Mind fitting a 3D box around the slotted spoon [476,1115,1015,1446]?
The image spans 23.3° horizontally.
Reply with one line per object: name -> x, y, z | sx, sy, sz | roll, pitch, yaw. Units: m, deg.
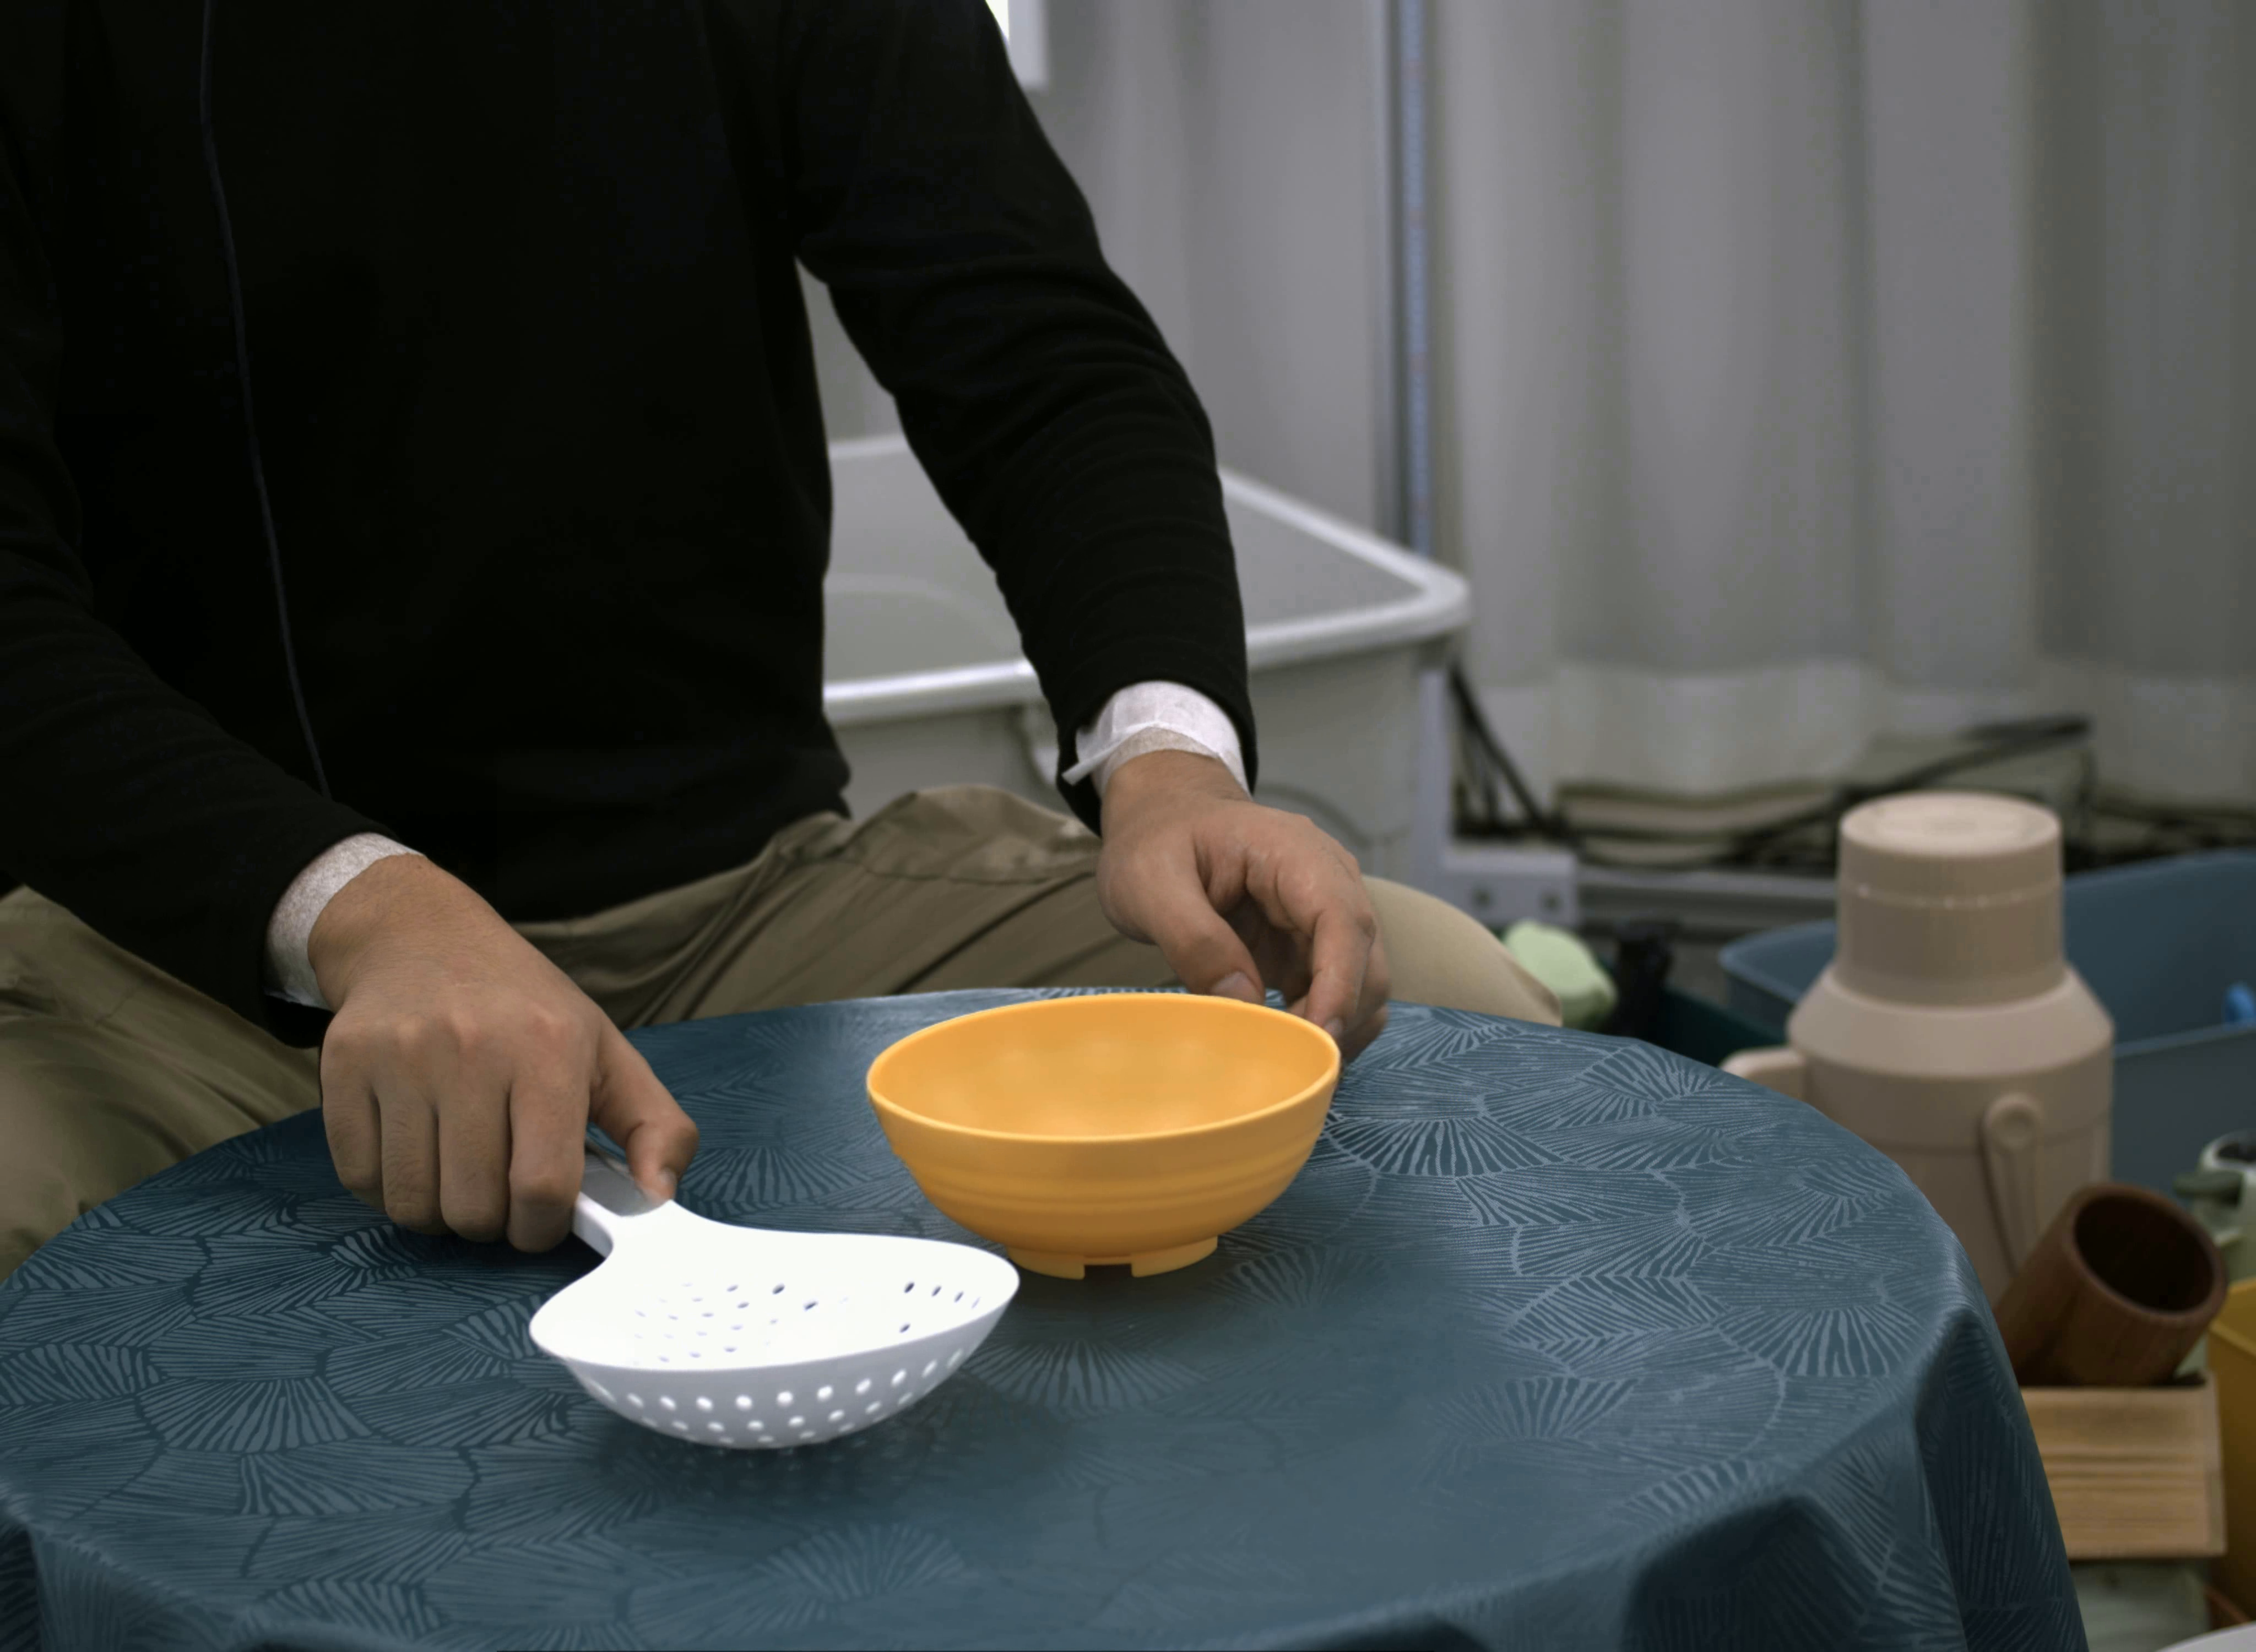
slotted spoon -> -0.137, 0.124, 1.616 | 0.135, 0.045, 0.352 | -9, 15, -20

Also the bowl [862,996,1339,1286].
bowl -> -0.008, 0.101, 1.659 | 0.145, 0.060, 0.146 | -1, 15, 0
